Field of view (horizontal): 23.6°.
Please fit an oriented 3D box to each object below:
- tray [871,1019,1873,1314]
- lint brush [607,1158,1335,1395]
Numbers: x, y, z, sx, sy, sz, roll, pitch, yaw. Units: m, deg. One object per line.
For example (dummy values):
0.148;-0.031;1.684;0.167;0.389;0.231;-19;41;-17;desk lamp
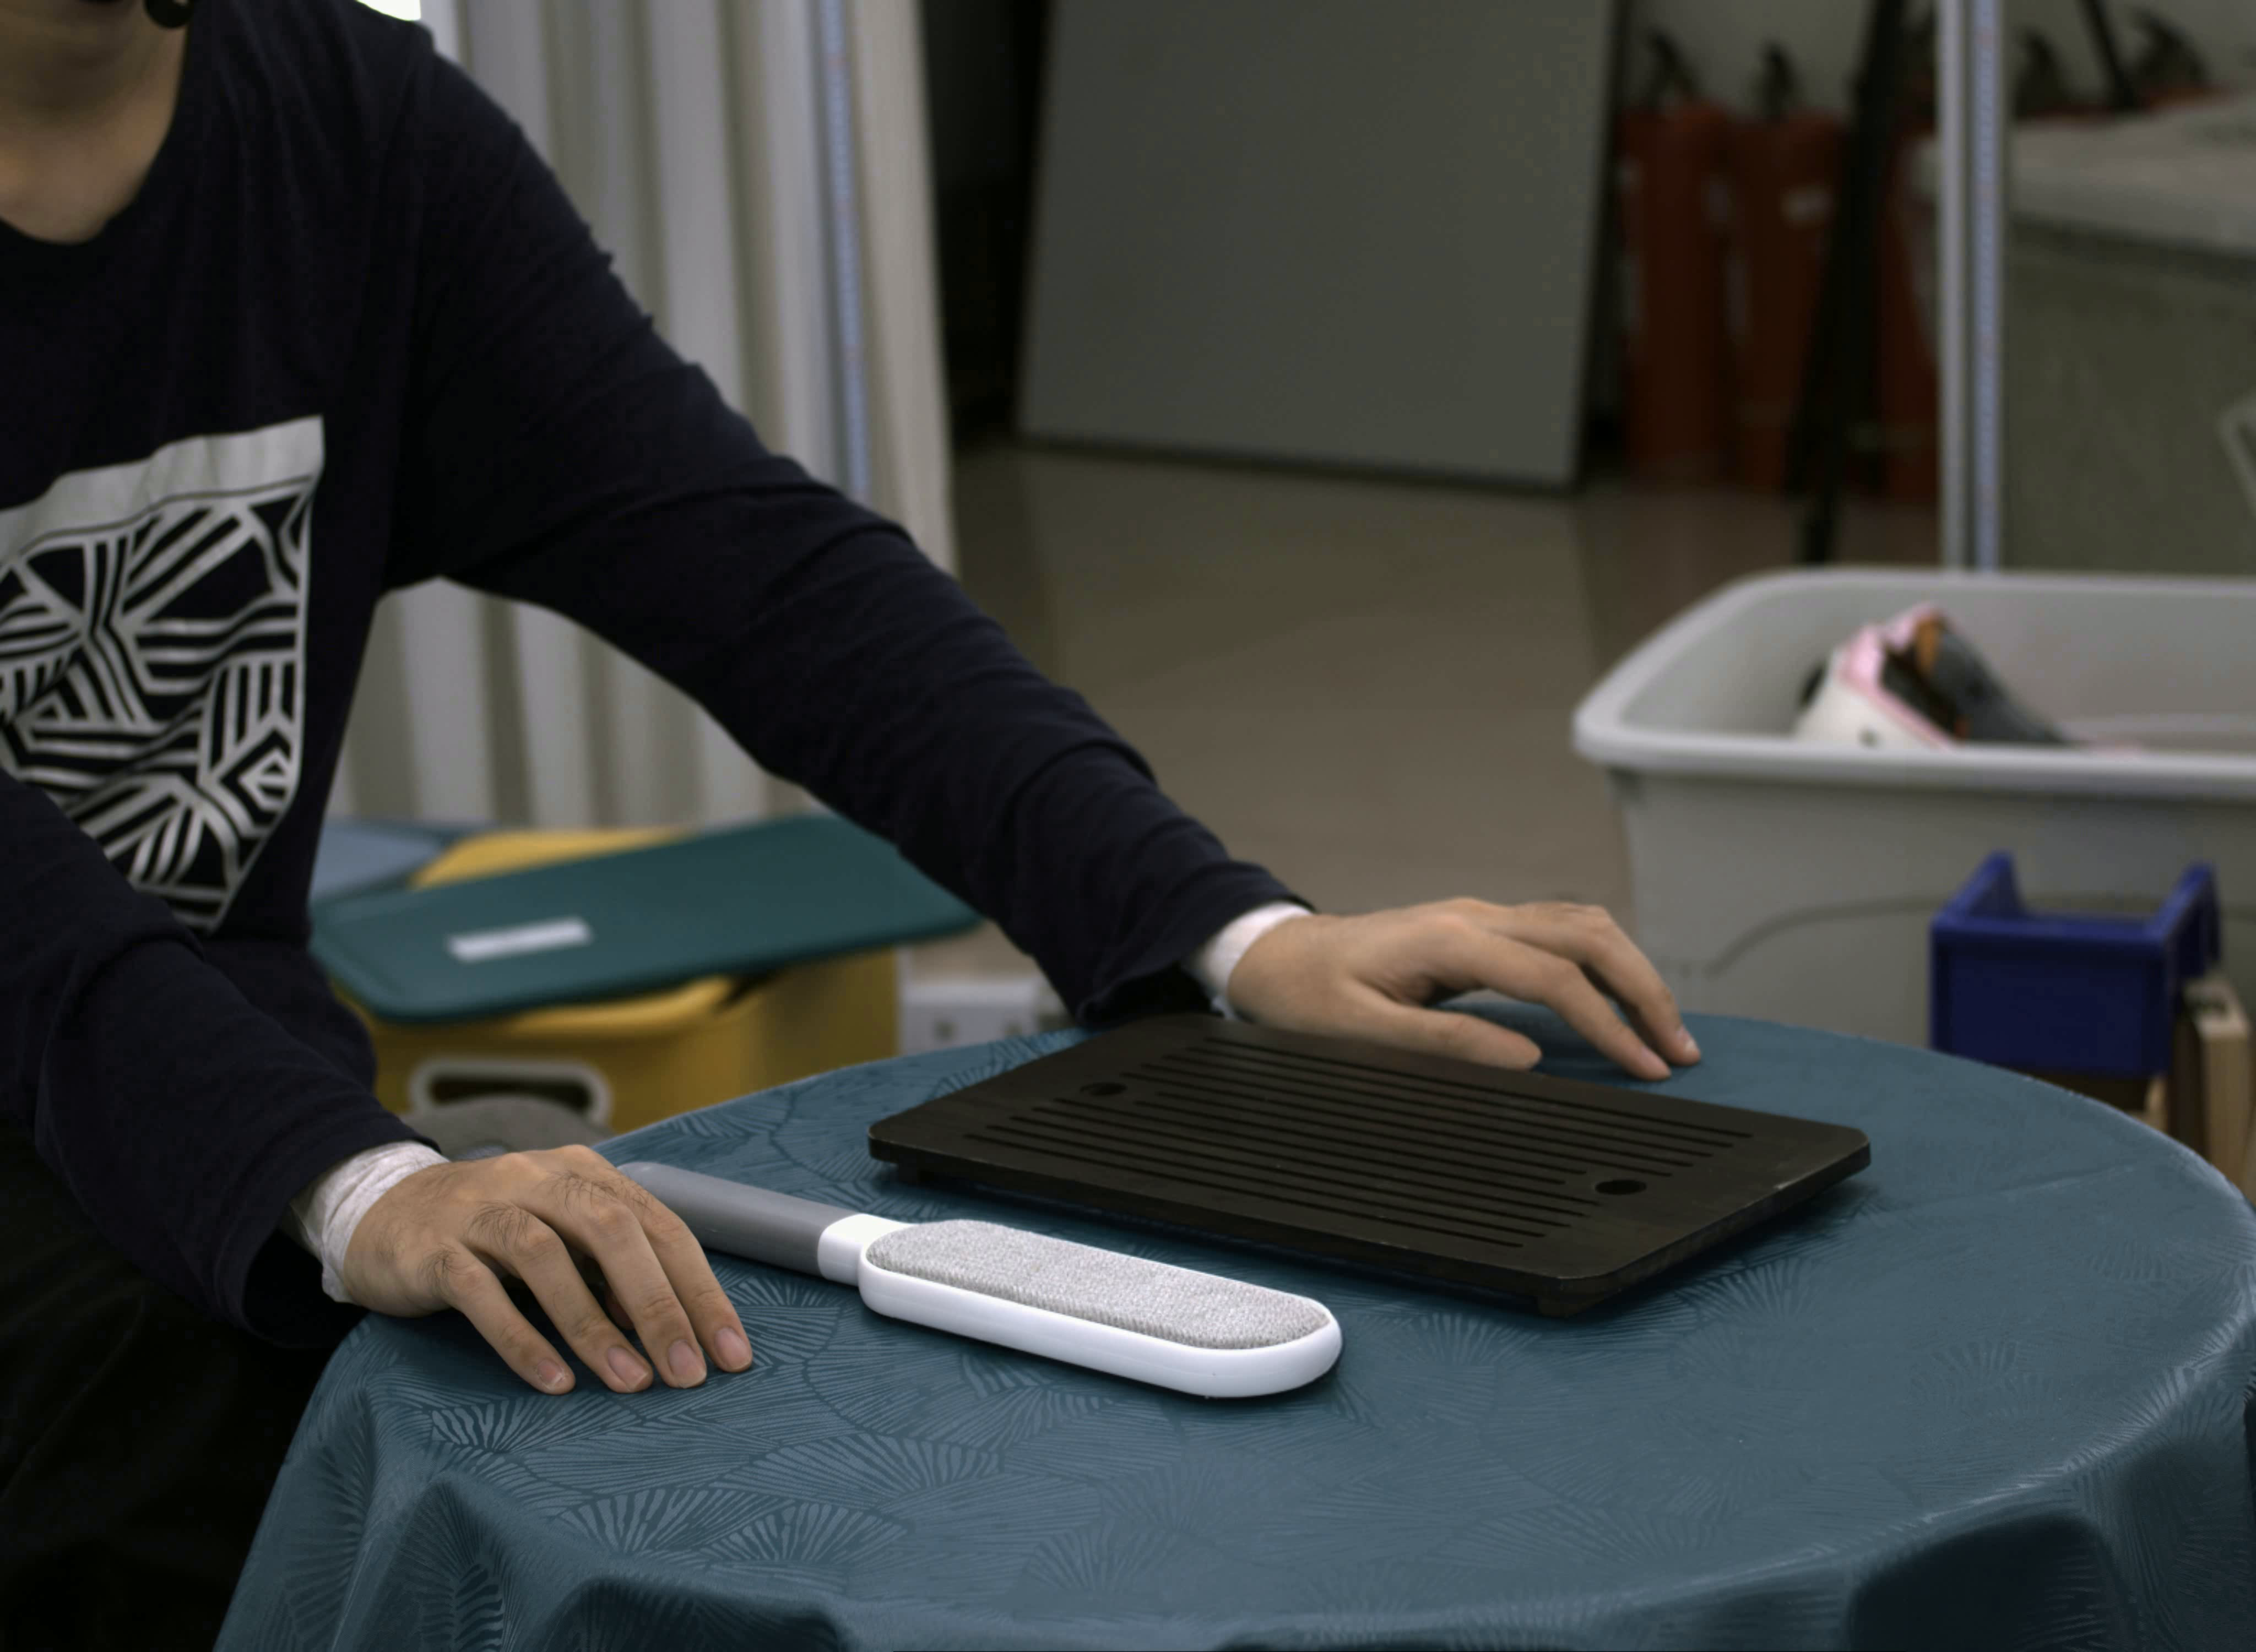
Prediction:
0.077;0.109;1.767;0.308;0.019;0.167;7;18;40;tray
-0.056;0.136;1.675;0.312;0.021;0.059;9;24;44;lint brush
